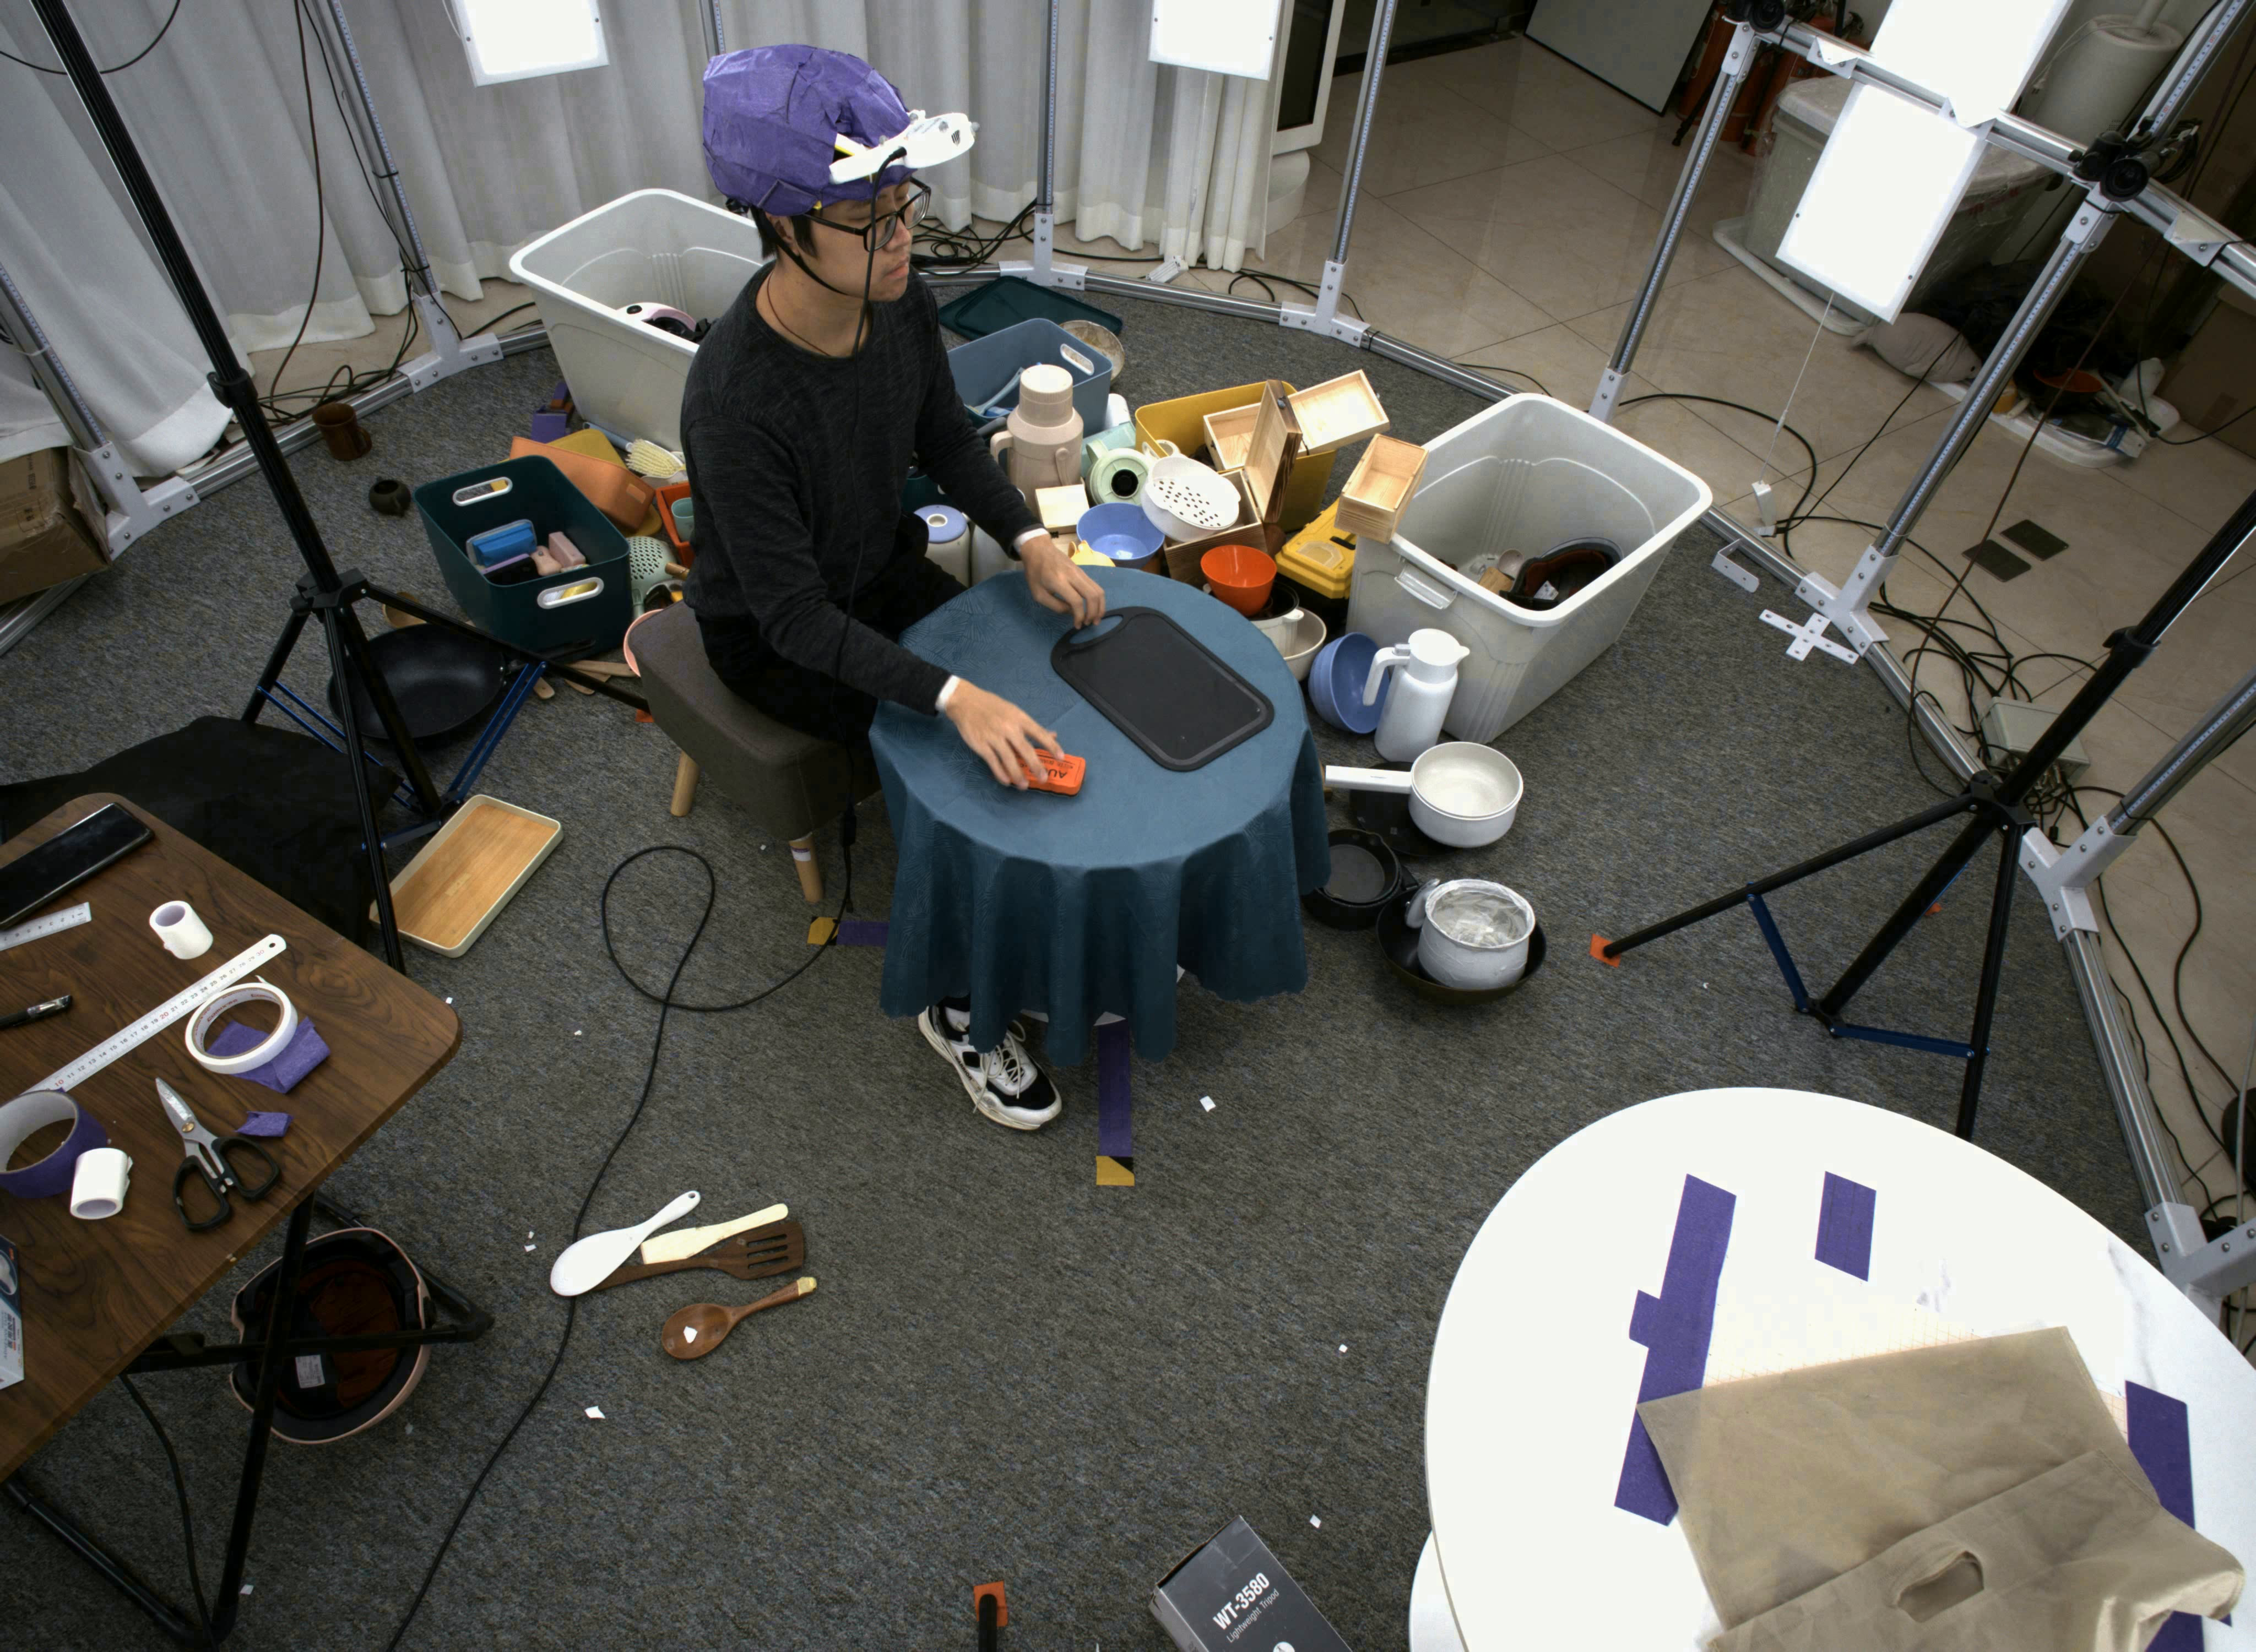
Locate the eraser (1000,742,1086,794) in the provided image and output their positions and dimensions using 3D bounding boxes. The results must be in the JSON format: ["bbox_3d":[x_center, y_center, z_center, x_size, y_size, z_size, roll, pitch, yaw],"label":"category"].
[{"bbox_3d":[-0.112,-0.078,1.705,0.108,0.022,0.060,10,48,5],"label":"eraser"}]

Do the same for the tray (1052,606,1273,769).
[{"bbox_3d":[0.042,-0.211,1.851,0.212,0.009,0.331,-30,57,-26],"label":"tray"}]
